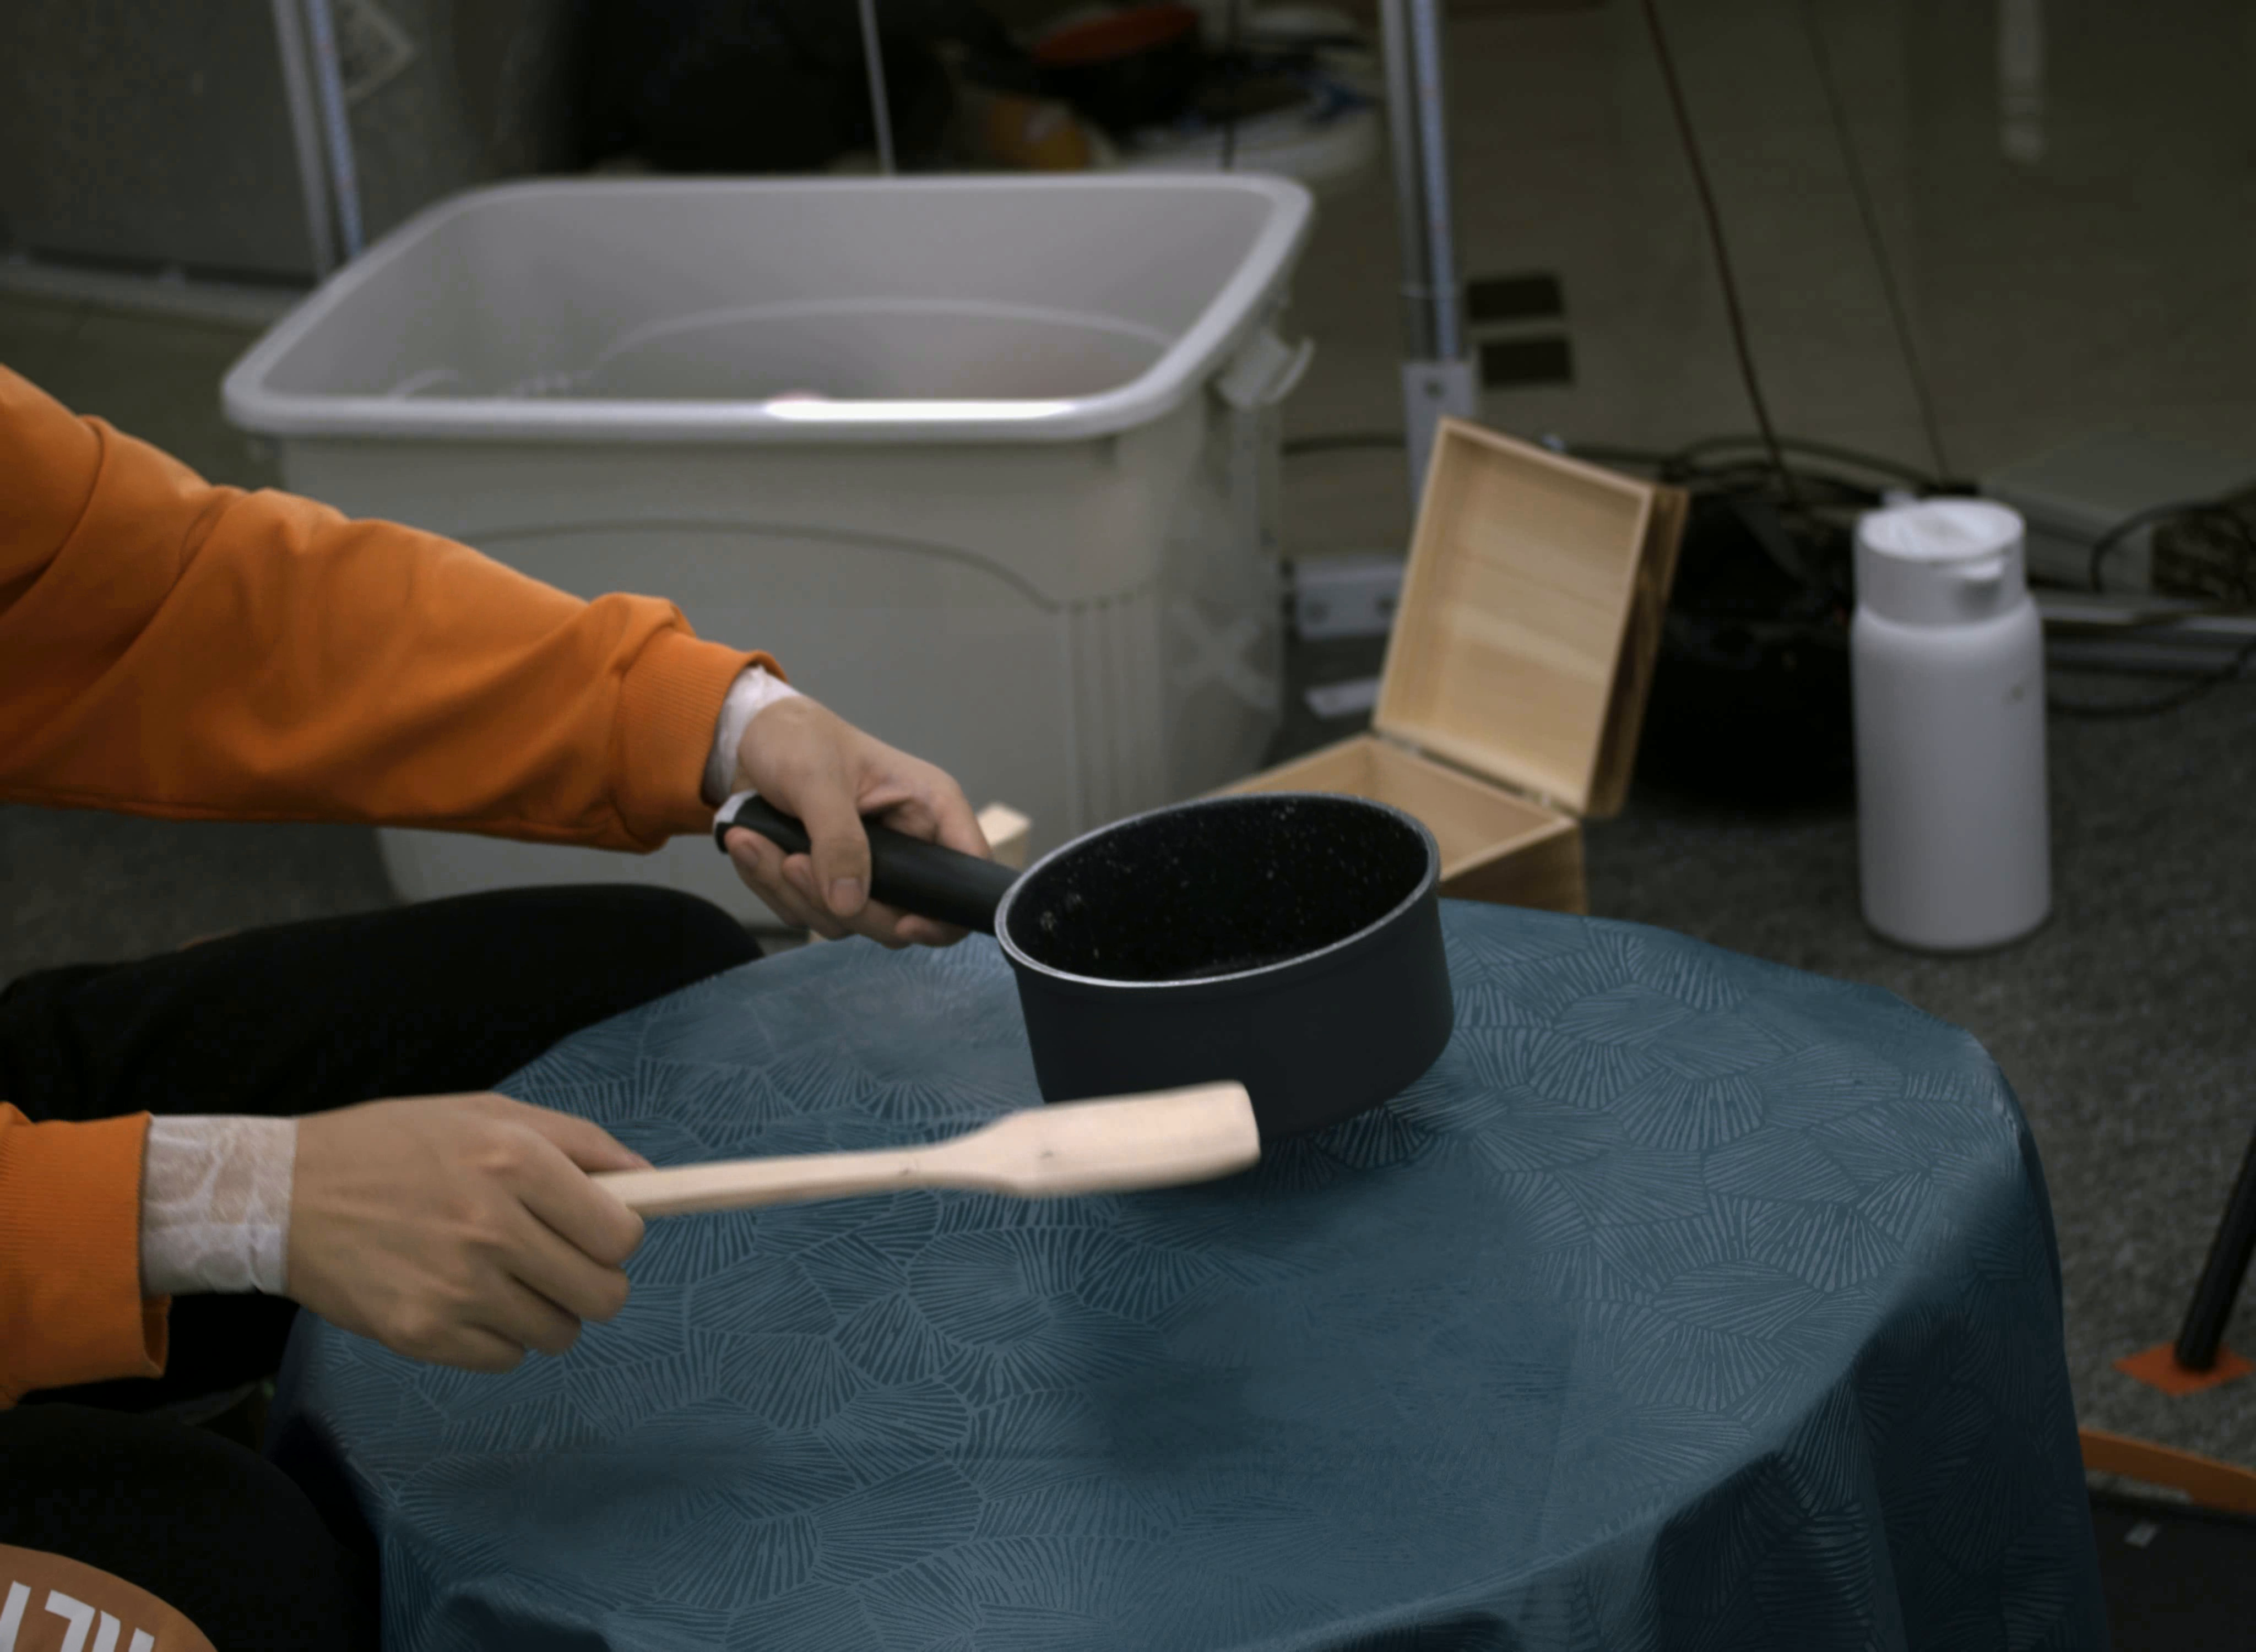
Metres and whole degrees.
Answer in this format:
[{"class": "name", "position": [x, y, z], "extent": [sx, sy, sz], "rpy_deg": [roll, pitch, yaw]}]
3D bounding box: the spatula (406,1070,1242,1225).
[{"class": "spatula", "position": [-0.106, 0.117, 1.976], "extent": [0.292, 0.011, 0.071], "rpy_deg": [-6, 21, -1]}]

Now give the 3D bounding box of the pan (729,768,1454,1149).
[{"class": "pan", "position": [-0.023, 0.042, 2.213], "extent": [0.327, 0.088, 0.170], "rpy_deg": [11, 31, 37]}]
